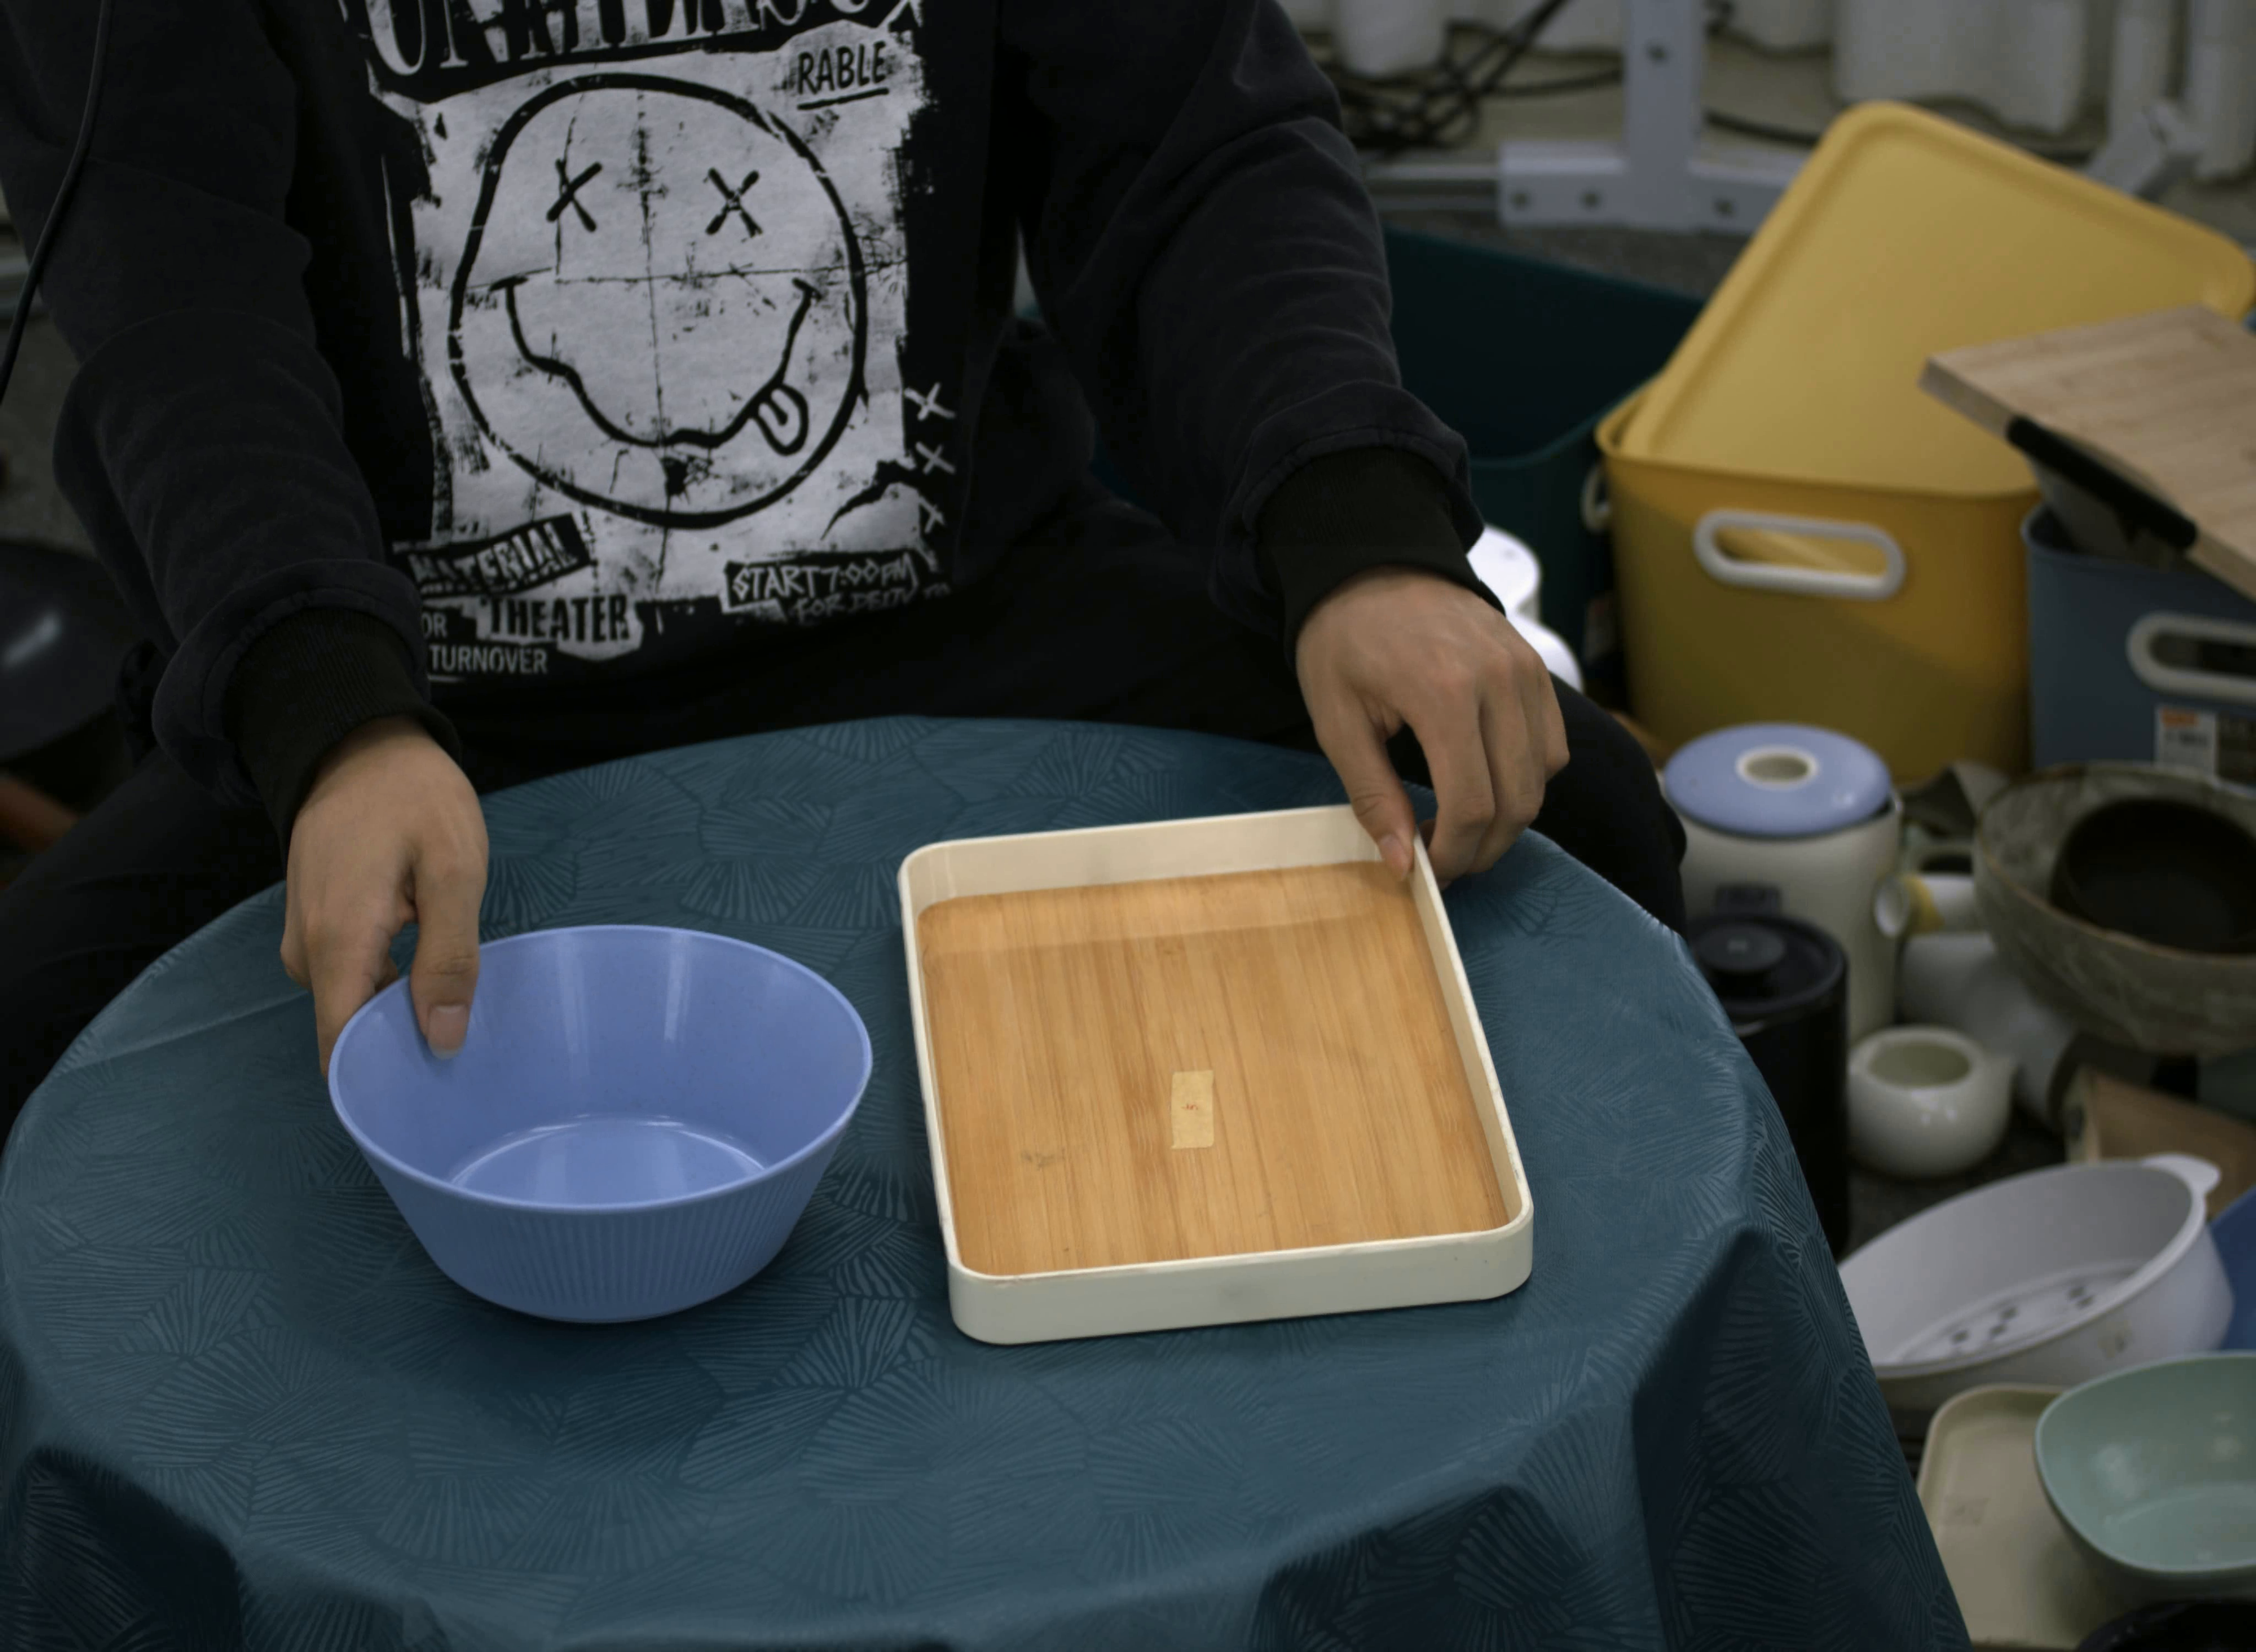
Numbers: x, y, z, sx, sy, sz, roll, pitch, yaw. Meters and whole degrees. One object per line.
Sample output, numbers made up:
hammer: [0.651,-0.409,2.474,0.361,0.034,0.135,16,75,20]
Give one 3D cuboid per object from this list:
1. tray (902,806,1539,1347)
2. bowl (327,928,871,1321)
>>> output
tray: [0.025,0.080,1.912,0.191,0.027,0.304,-5,28,-3]
bowl: [-0.171,0.104,1.830,0.175,0.069,0.179,1,28,0]
